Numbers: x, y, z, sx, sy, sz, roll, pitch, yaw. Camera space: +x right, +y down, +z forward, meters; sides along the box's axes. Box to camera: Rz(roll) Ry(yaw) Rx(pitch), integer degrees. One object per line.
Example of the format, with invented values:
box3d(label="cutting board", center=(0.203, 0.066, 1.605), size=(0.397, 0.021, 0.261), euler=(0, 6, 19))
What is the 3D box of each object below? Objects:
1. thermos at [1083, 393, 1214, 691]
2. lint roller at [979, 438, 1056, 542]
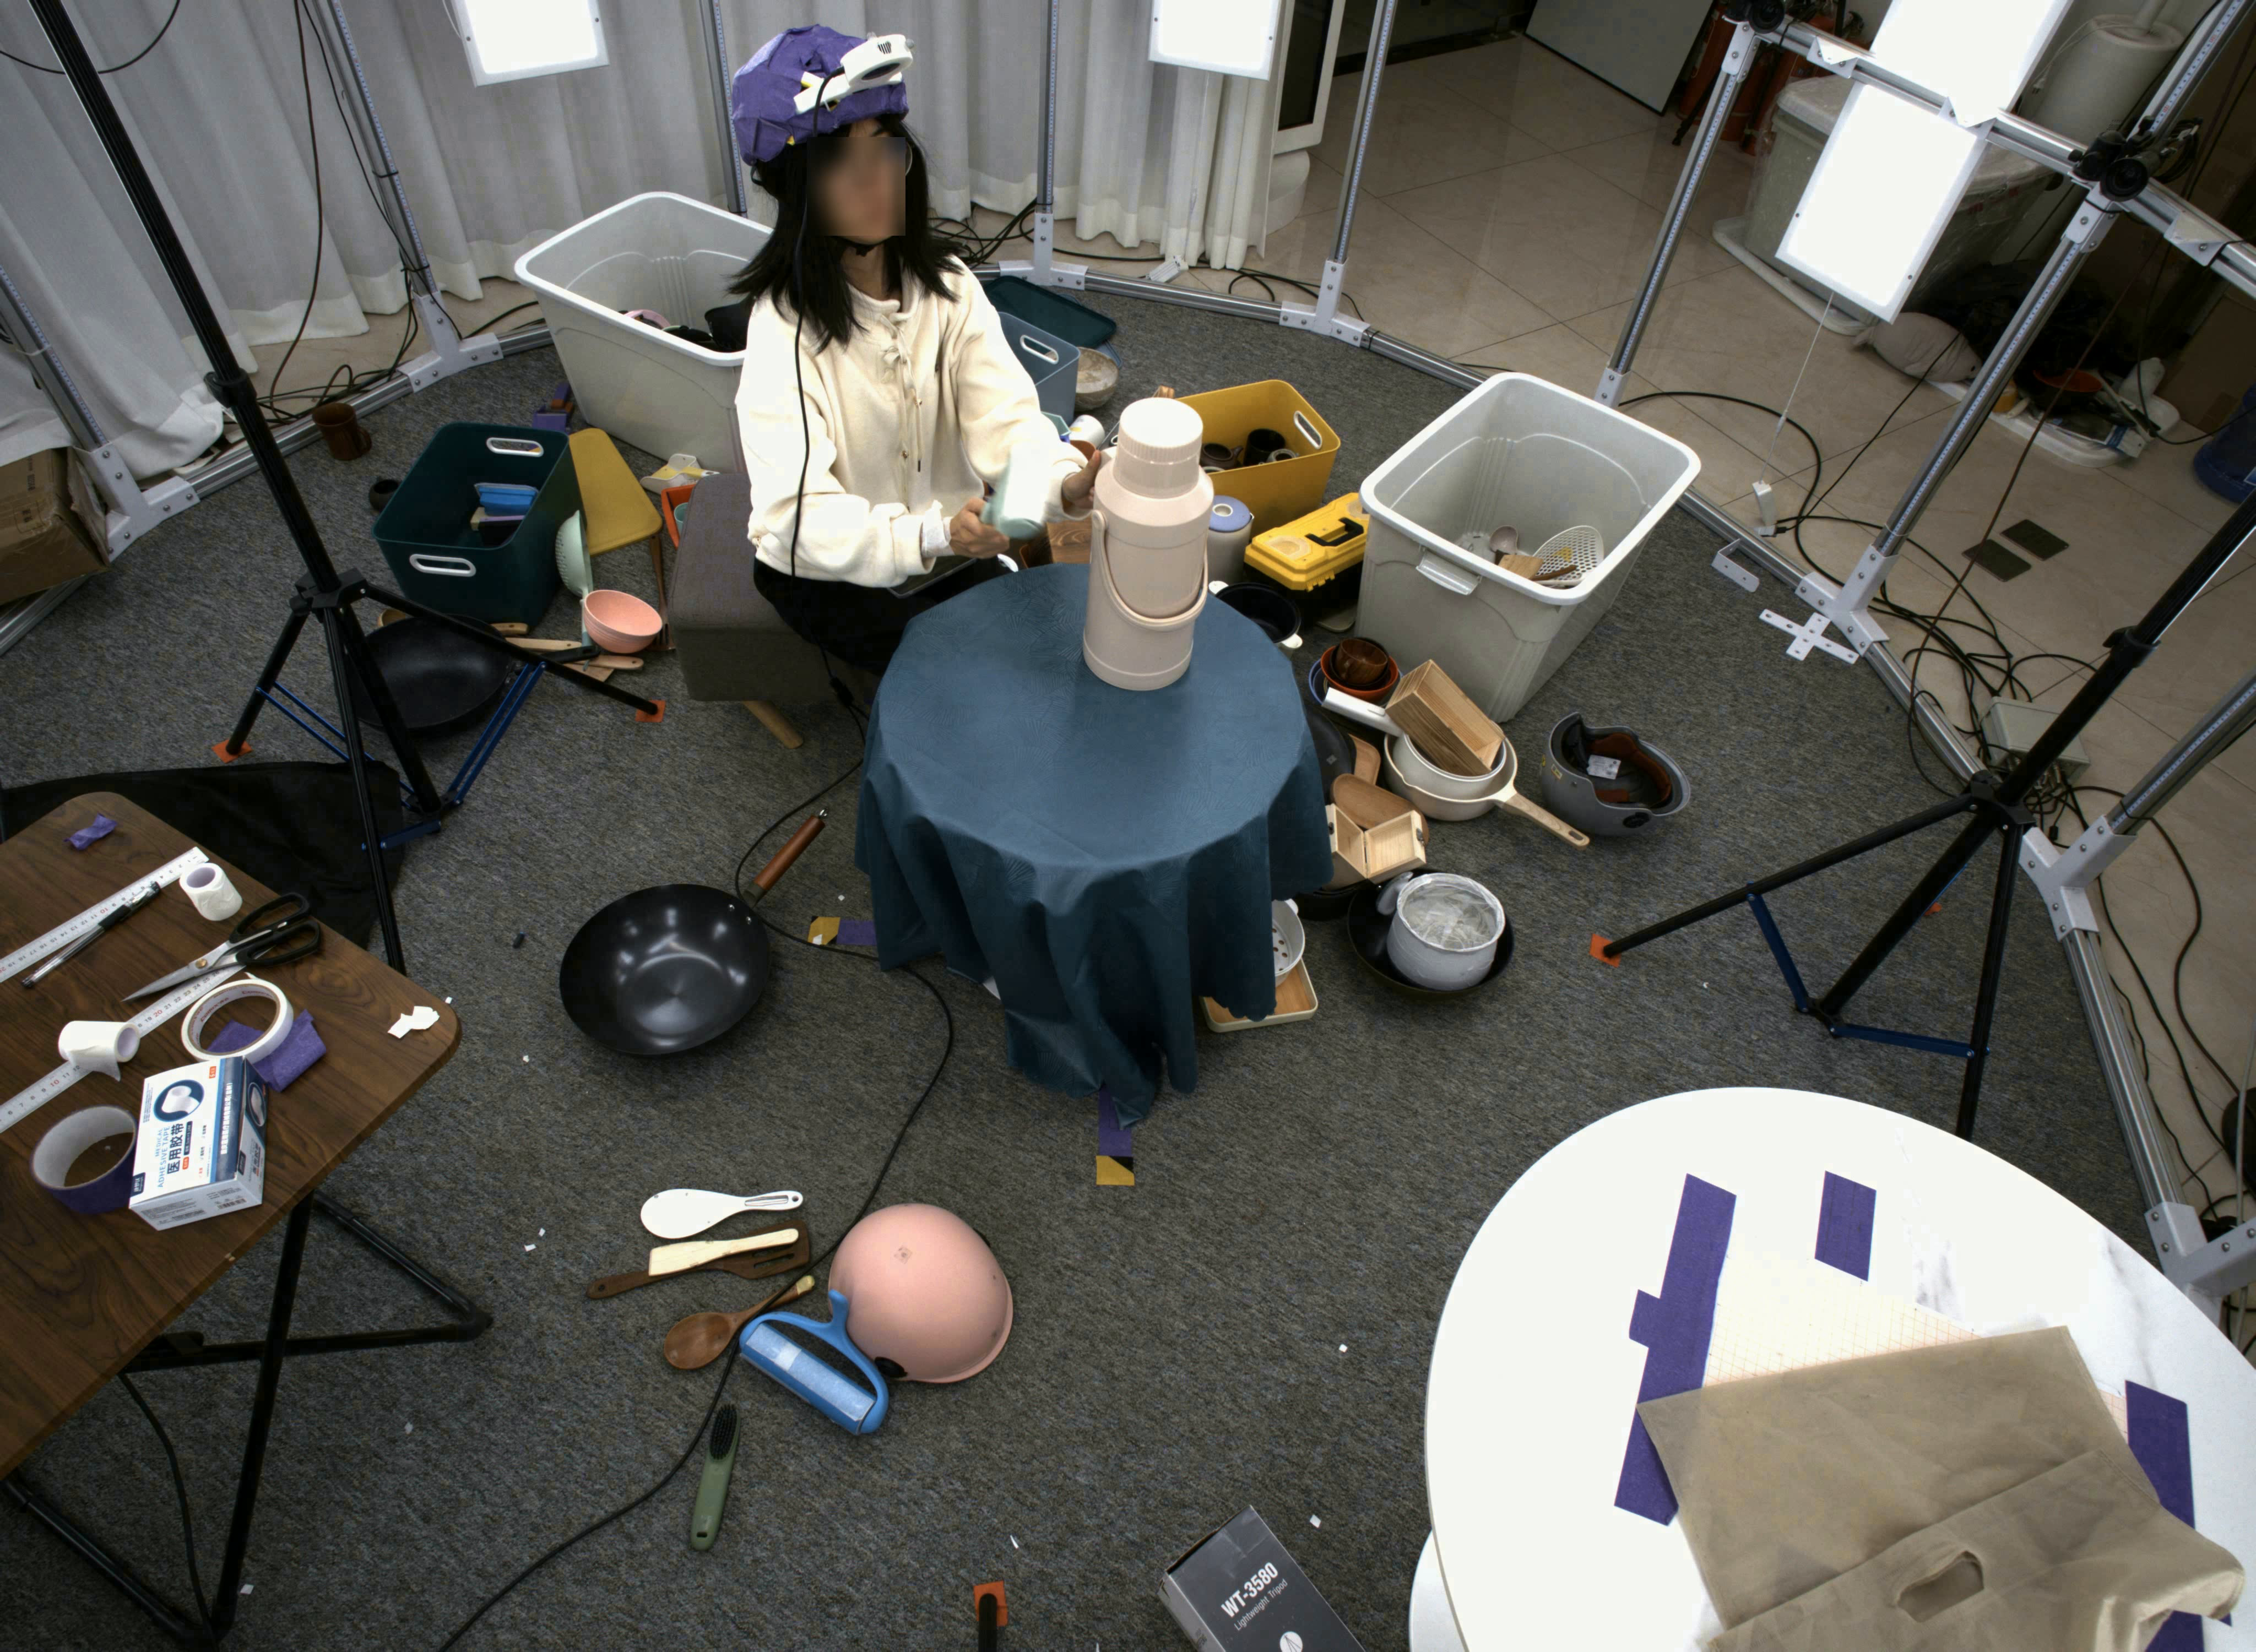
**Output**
box3d(label="thermos", center=(0.021, -0.387, 1.750), size=(0.176, 0.396, 0.211), euler=(-24, 56, -22))
box3d(label="lint roller", center=(-0.155, -0.413, 1.662), size=(0.048, 0.197, 0.118), euler=(13, 76, -31))
